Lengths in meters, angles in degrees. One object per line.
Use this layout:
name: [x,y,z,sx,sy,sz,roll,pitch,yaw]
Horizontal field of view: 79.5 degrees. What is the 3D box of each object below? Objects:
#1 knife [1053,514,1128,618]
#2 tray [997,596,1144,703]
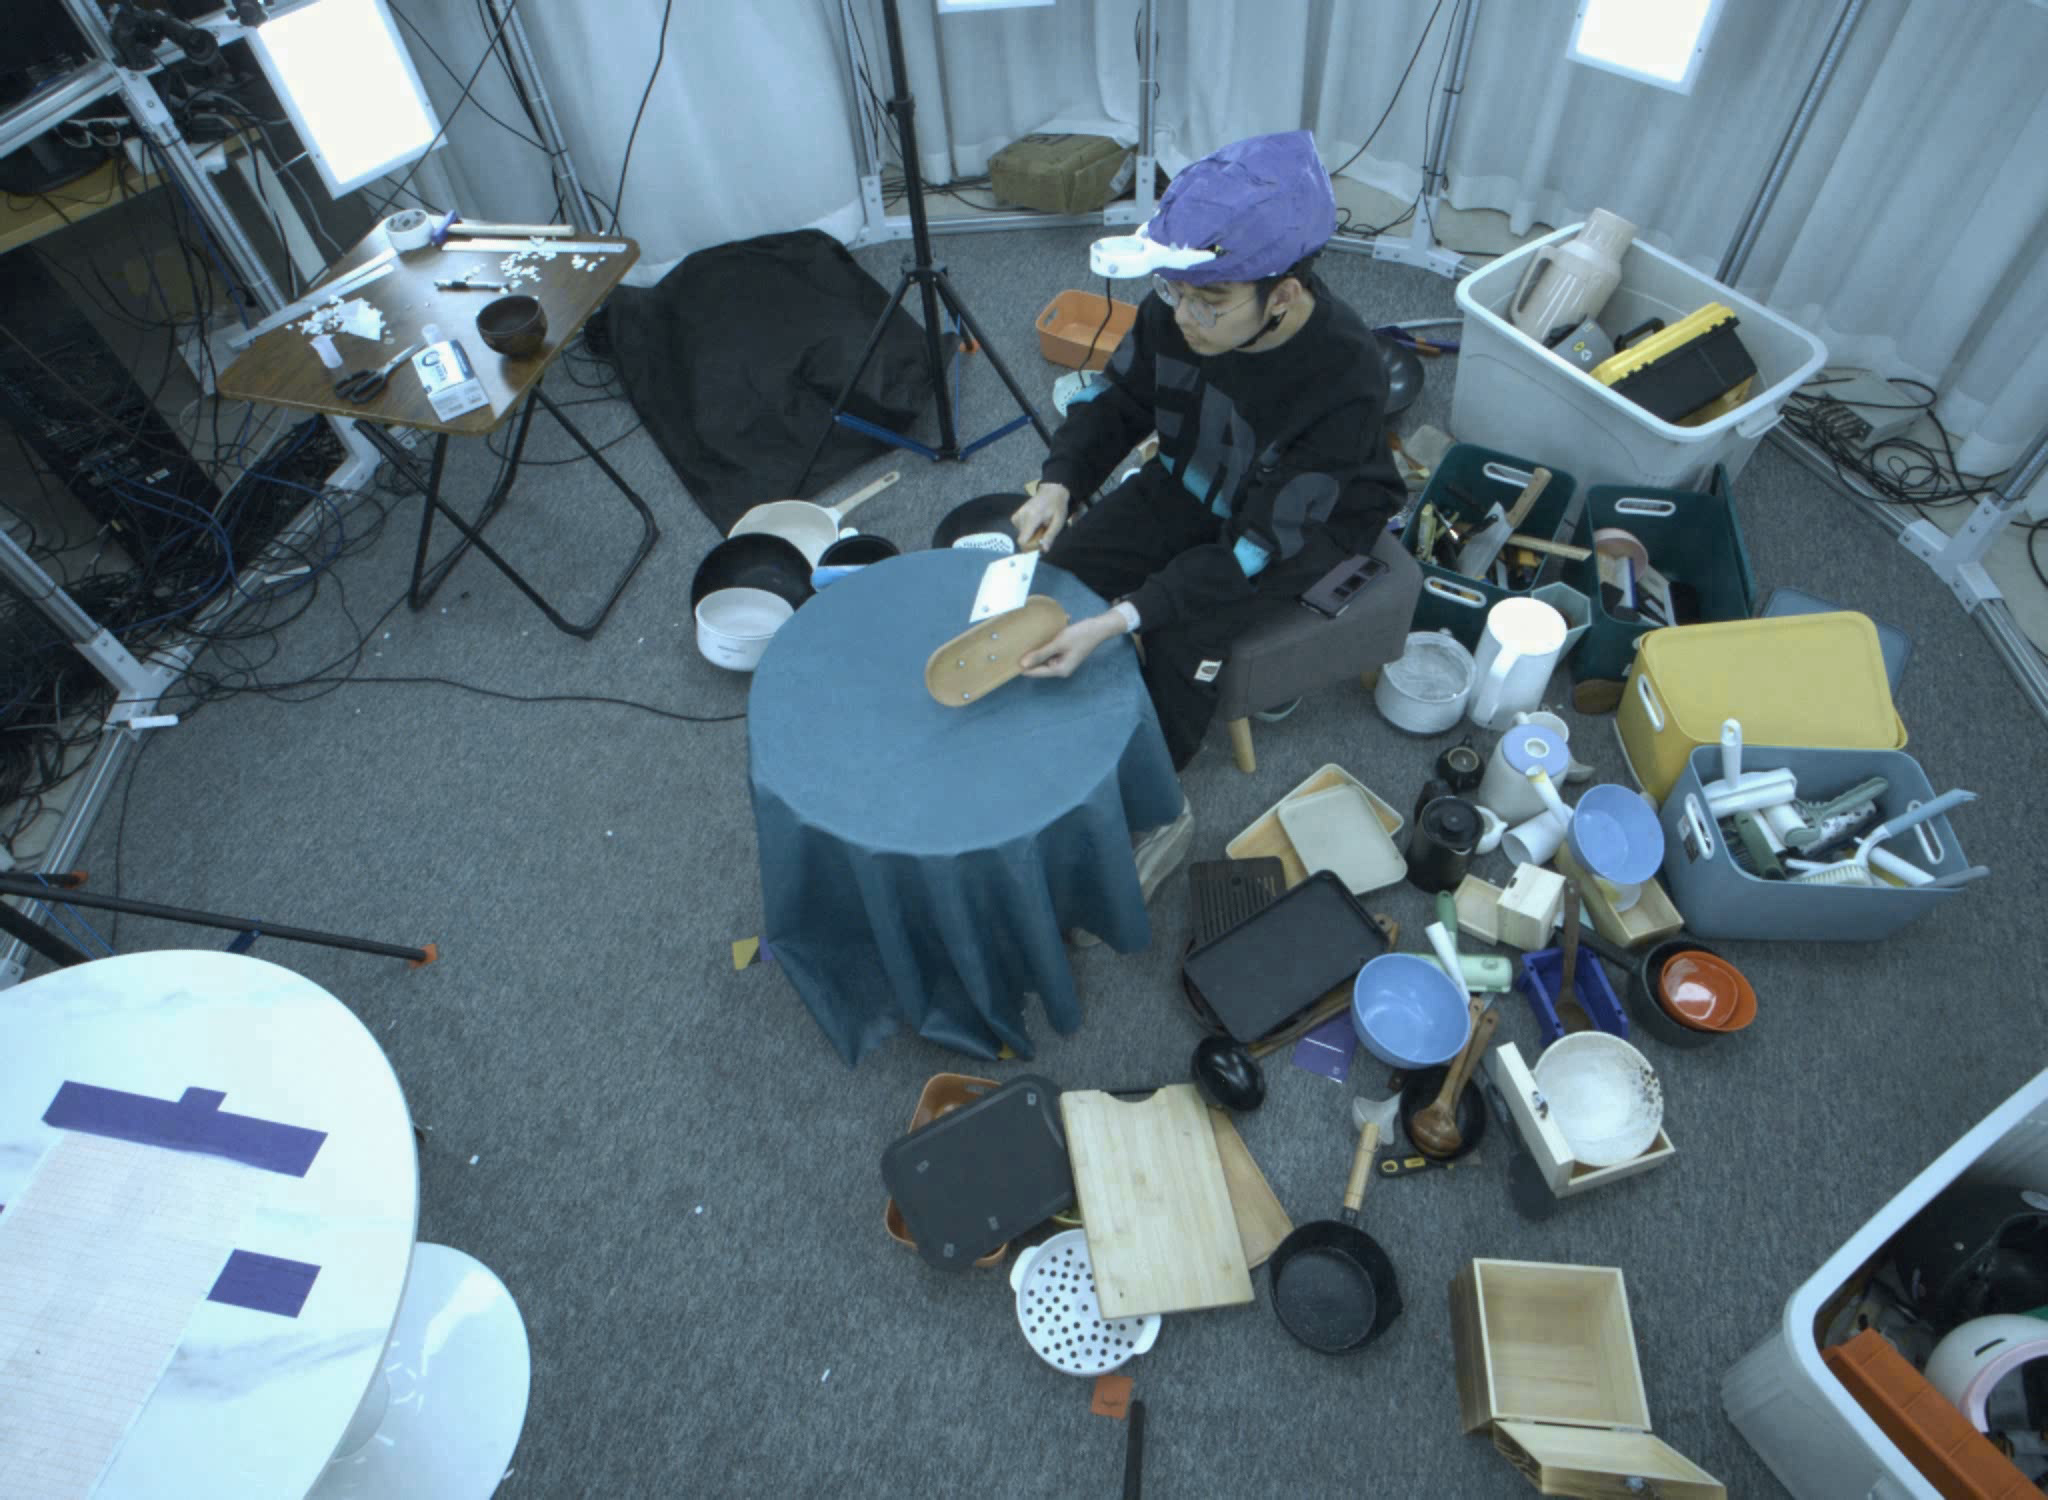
knife: [0.100,-0.281,1.877,0.092,0.021,0.304,-12,31,22]
tray: [0.067,-0.146,1.786,0.232,0.103,0.020,-28,34,-8]
